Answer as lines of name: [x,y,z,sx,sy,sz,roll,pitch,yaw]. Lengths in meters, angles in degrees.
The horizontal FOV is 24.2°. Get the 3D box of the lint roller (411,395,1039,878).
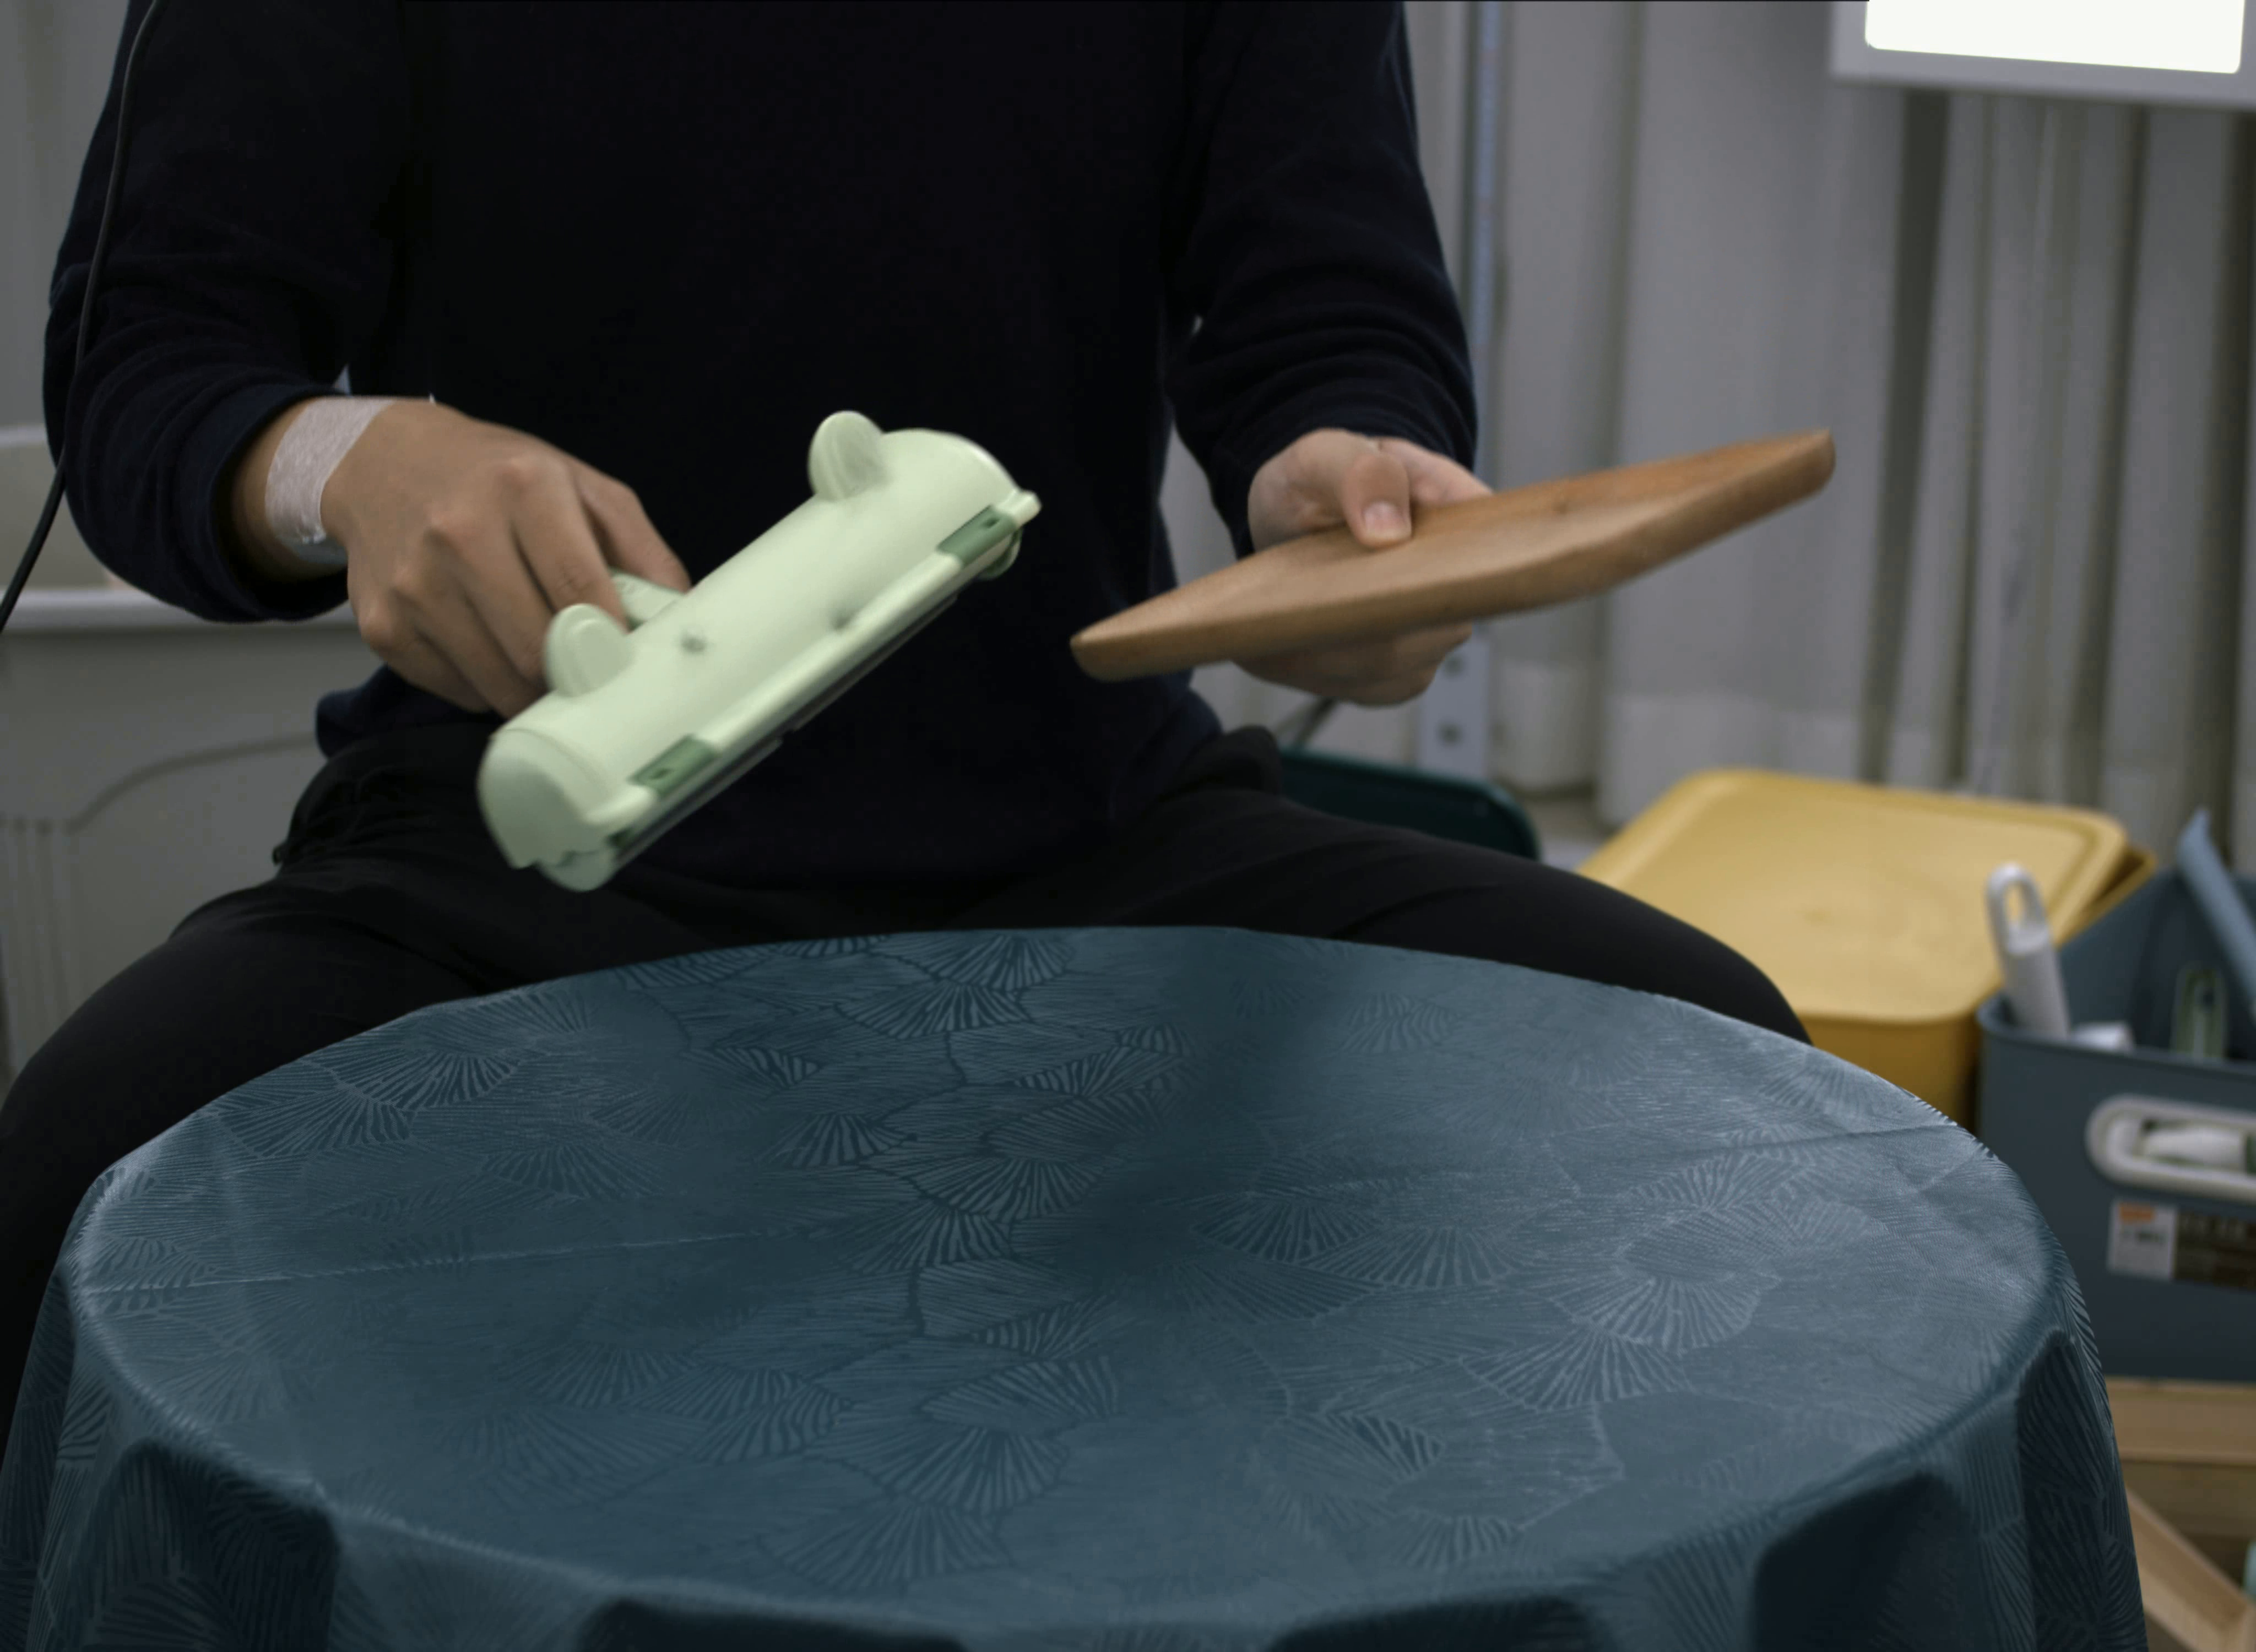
lint roller: [-0.154,-0.080,1.595,0.181,0.083,0.198,23,46,30]

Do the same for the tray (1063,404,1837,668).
tray: [0.092,-0.083,1.553,0.131,0.023,0.248,-22,8,-36]
